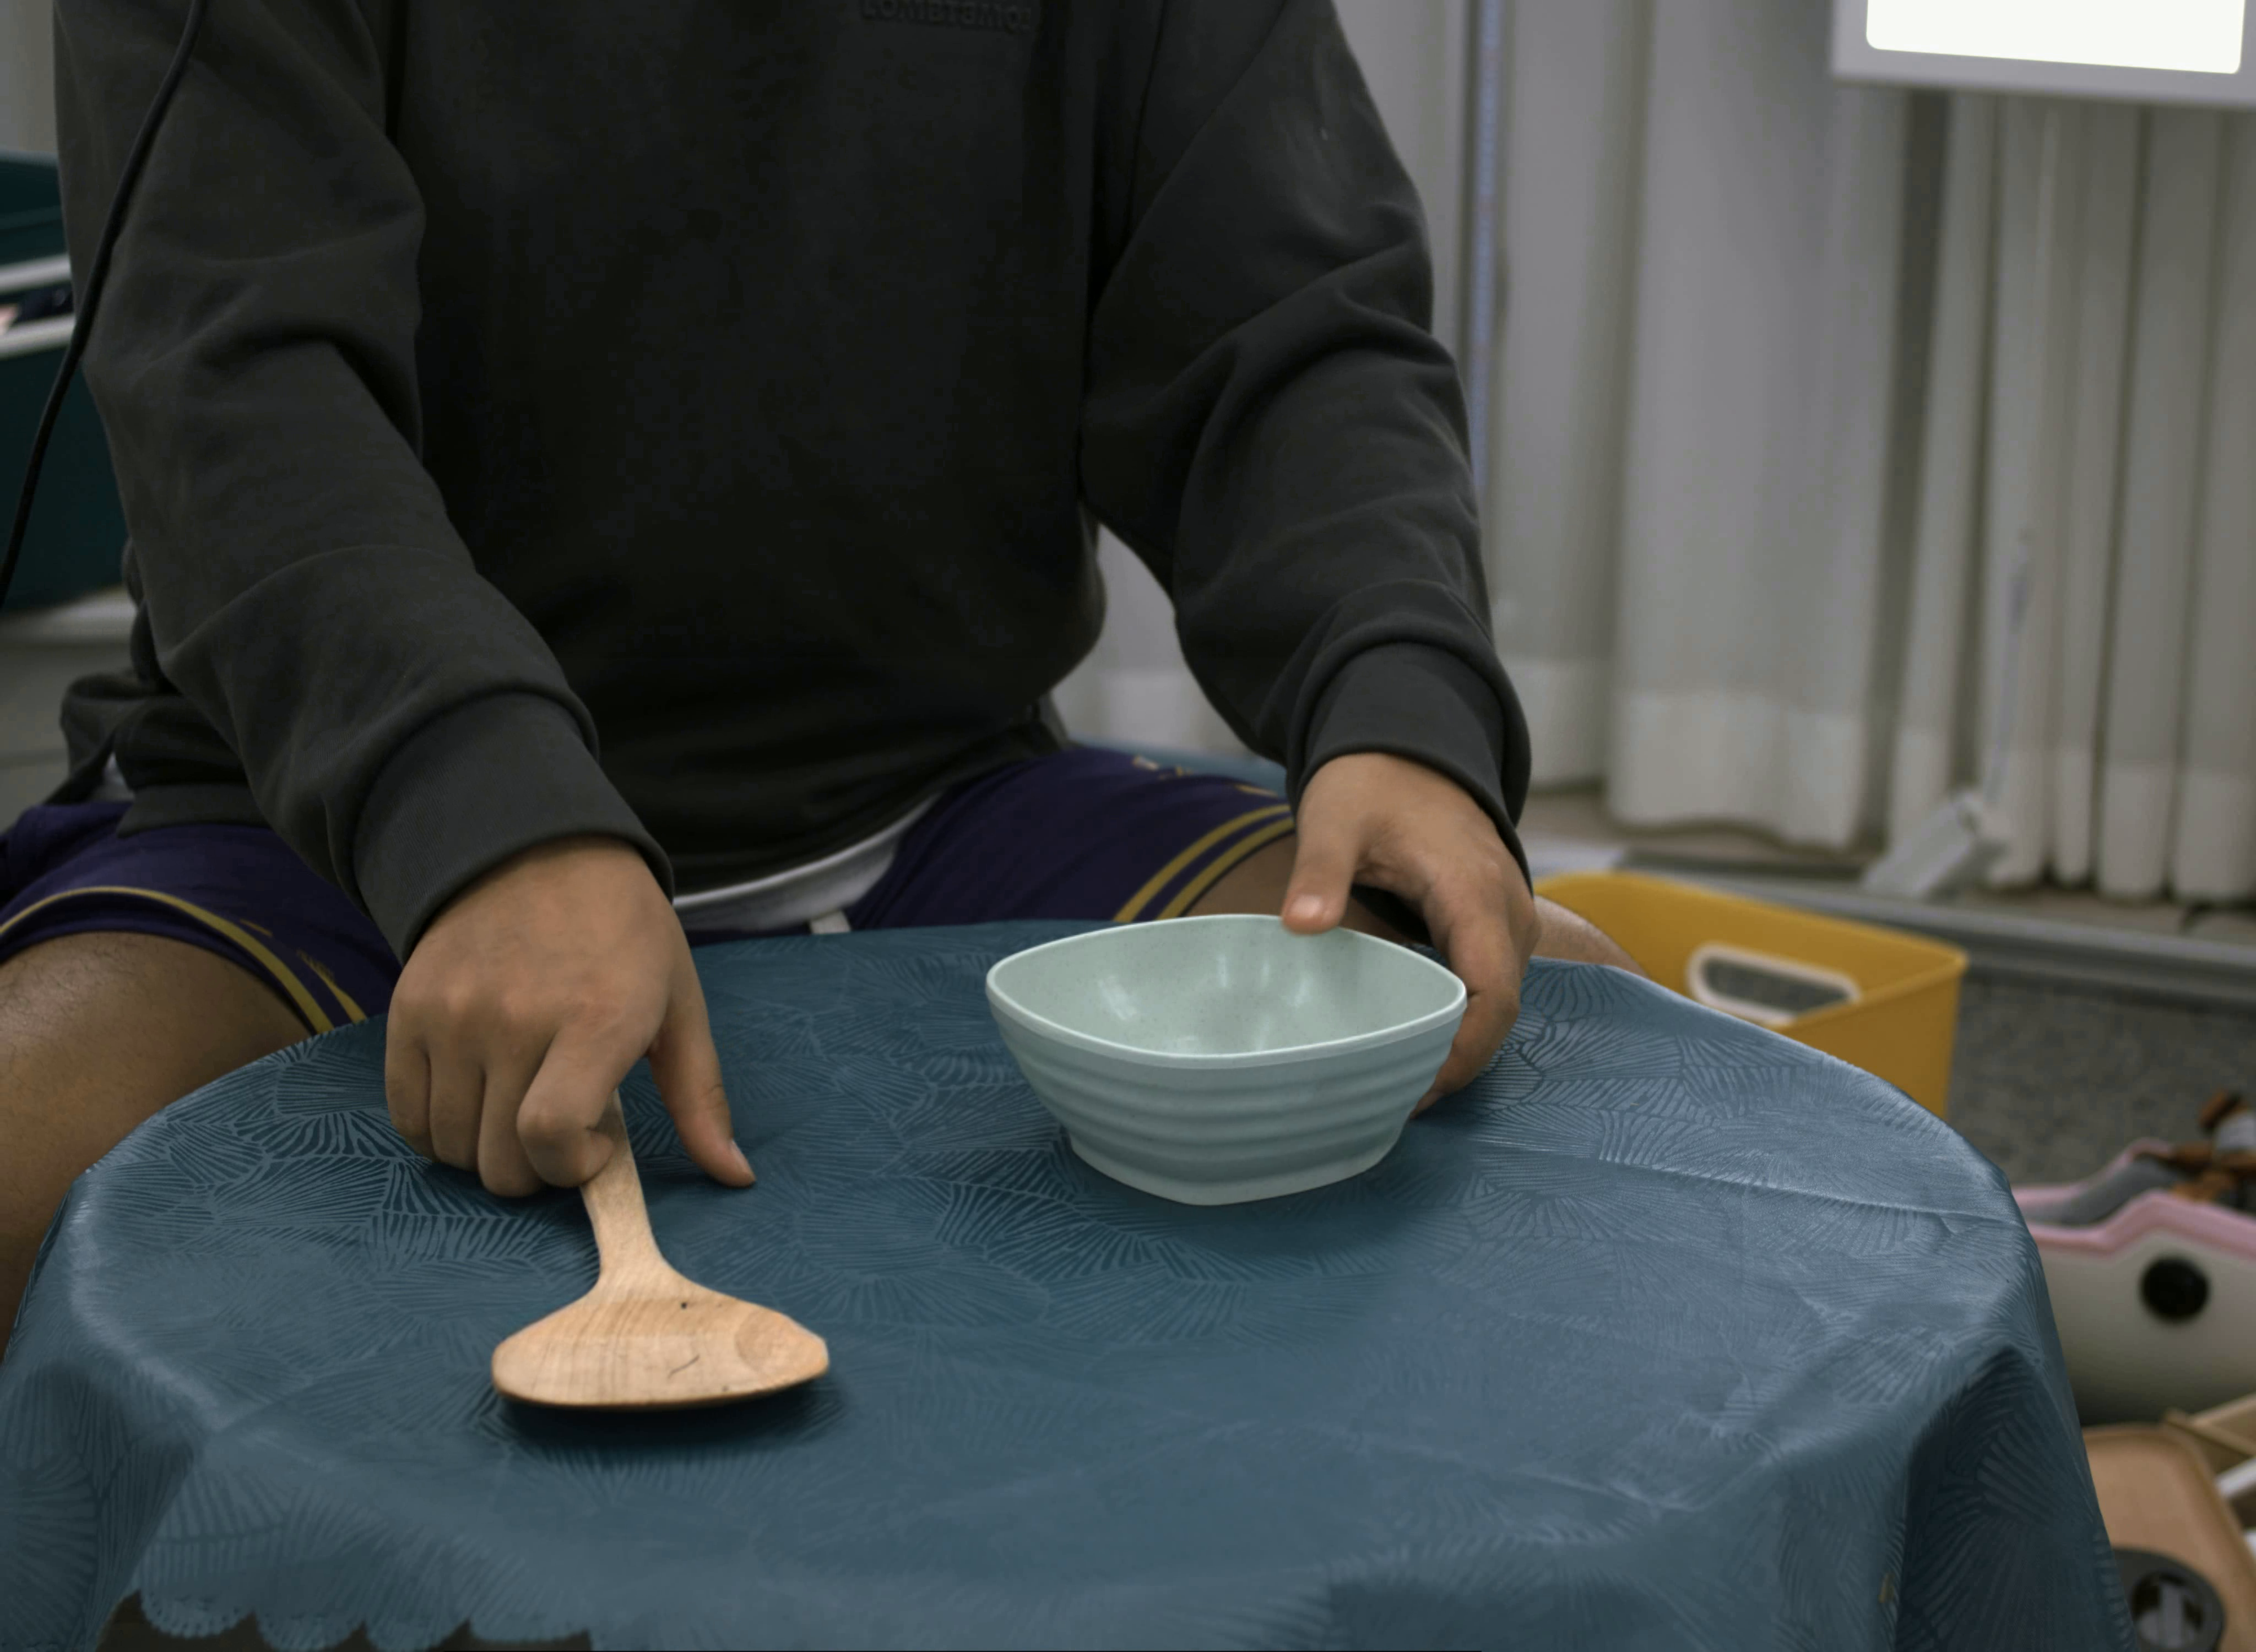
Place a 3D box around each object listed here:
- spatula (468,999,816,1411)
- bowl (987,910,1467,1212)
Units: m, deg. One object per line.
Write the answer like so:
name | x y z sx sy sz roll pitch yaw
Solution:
spatula | -0.163 0.109 1.595 0.096 0.018 0.387 -1 16 -11
bowl | 0.030 0.077 1.649 0.151 0.059 0.150 2 17 0
